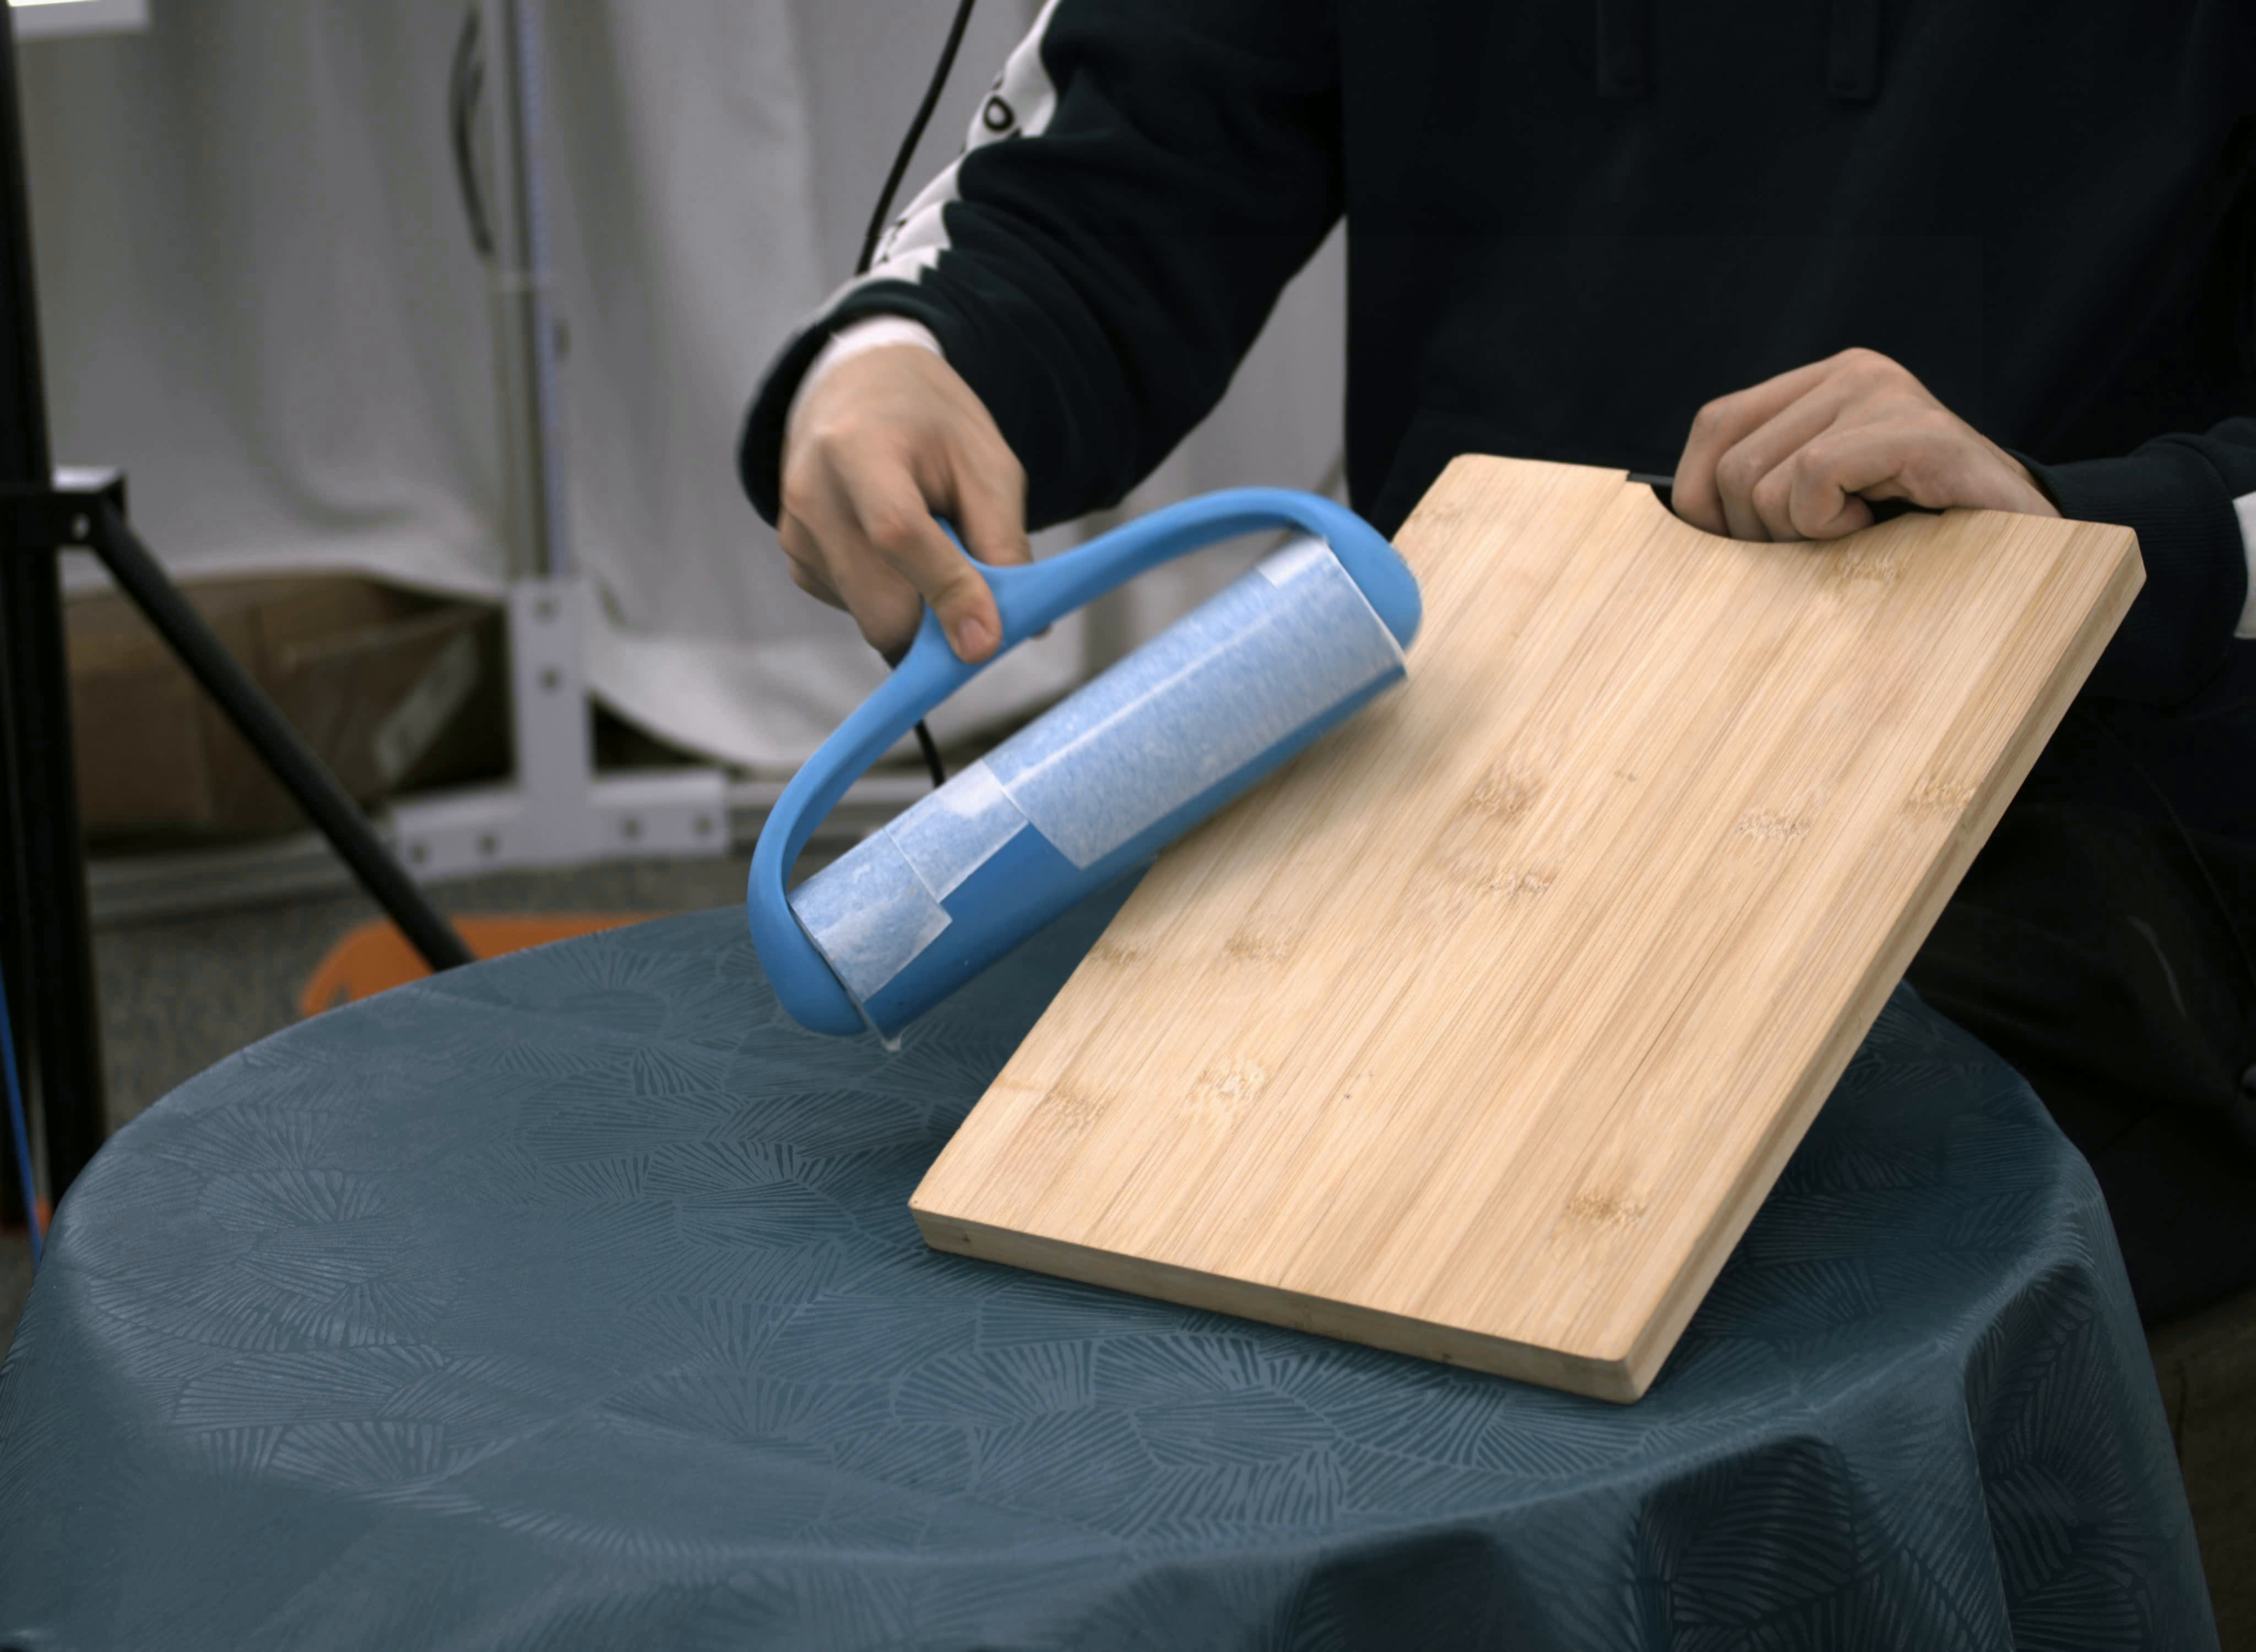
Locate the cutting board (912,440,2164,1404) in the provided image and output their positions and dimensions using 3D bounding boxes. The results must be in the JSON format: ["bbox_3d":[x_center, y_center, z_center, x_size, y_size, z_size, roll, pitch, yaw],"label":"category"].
[{"bbox_3d":[0.121,0.015,1.538,0.256,0.023,0.346,8,48,36],"label":"cutting board"}]

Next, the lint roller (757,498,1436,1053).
[{"bbox_3d":[-0.036,-0.045,1.619,0.228,0.066,0.184,-37,51,-2],"label":"lint roller"}]
